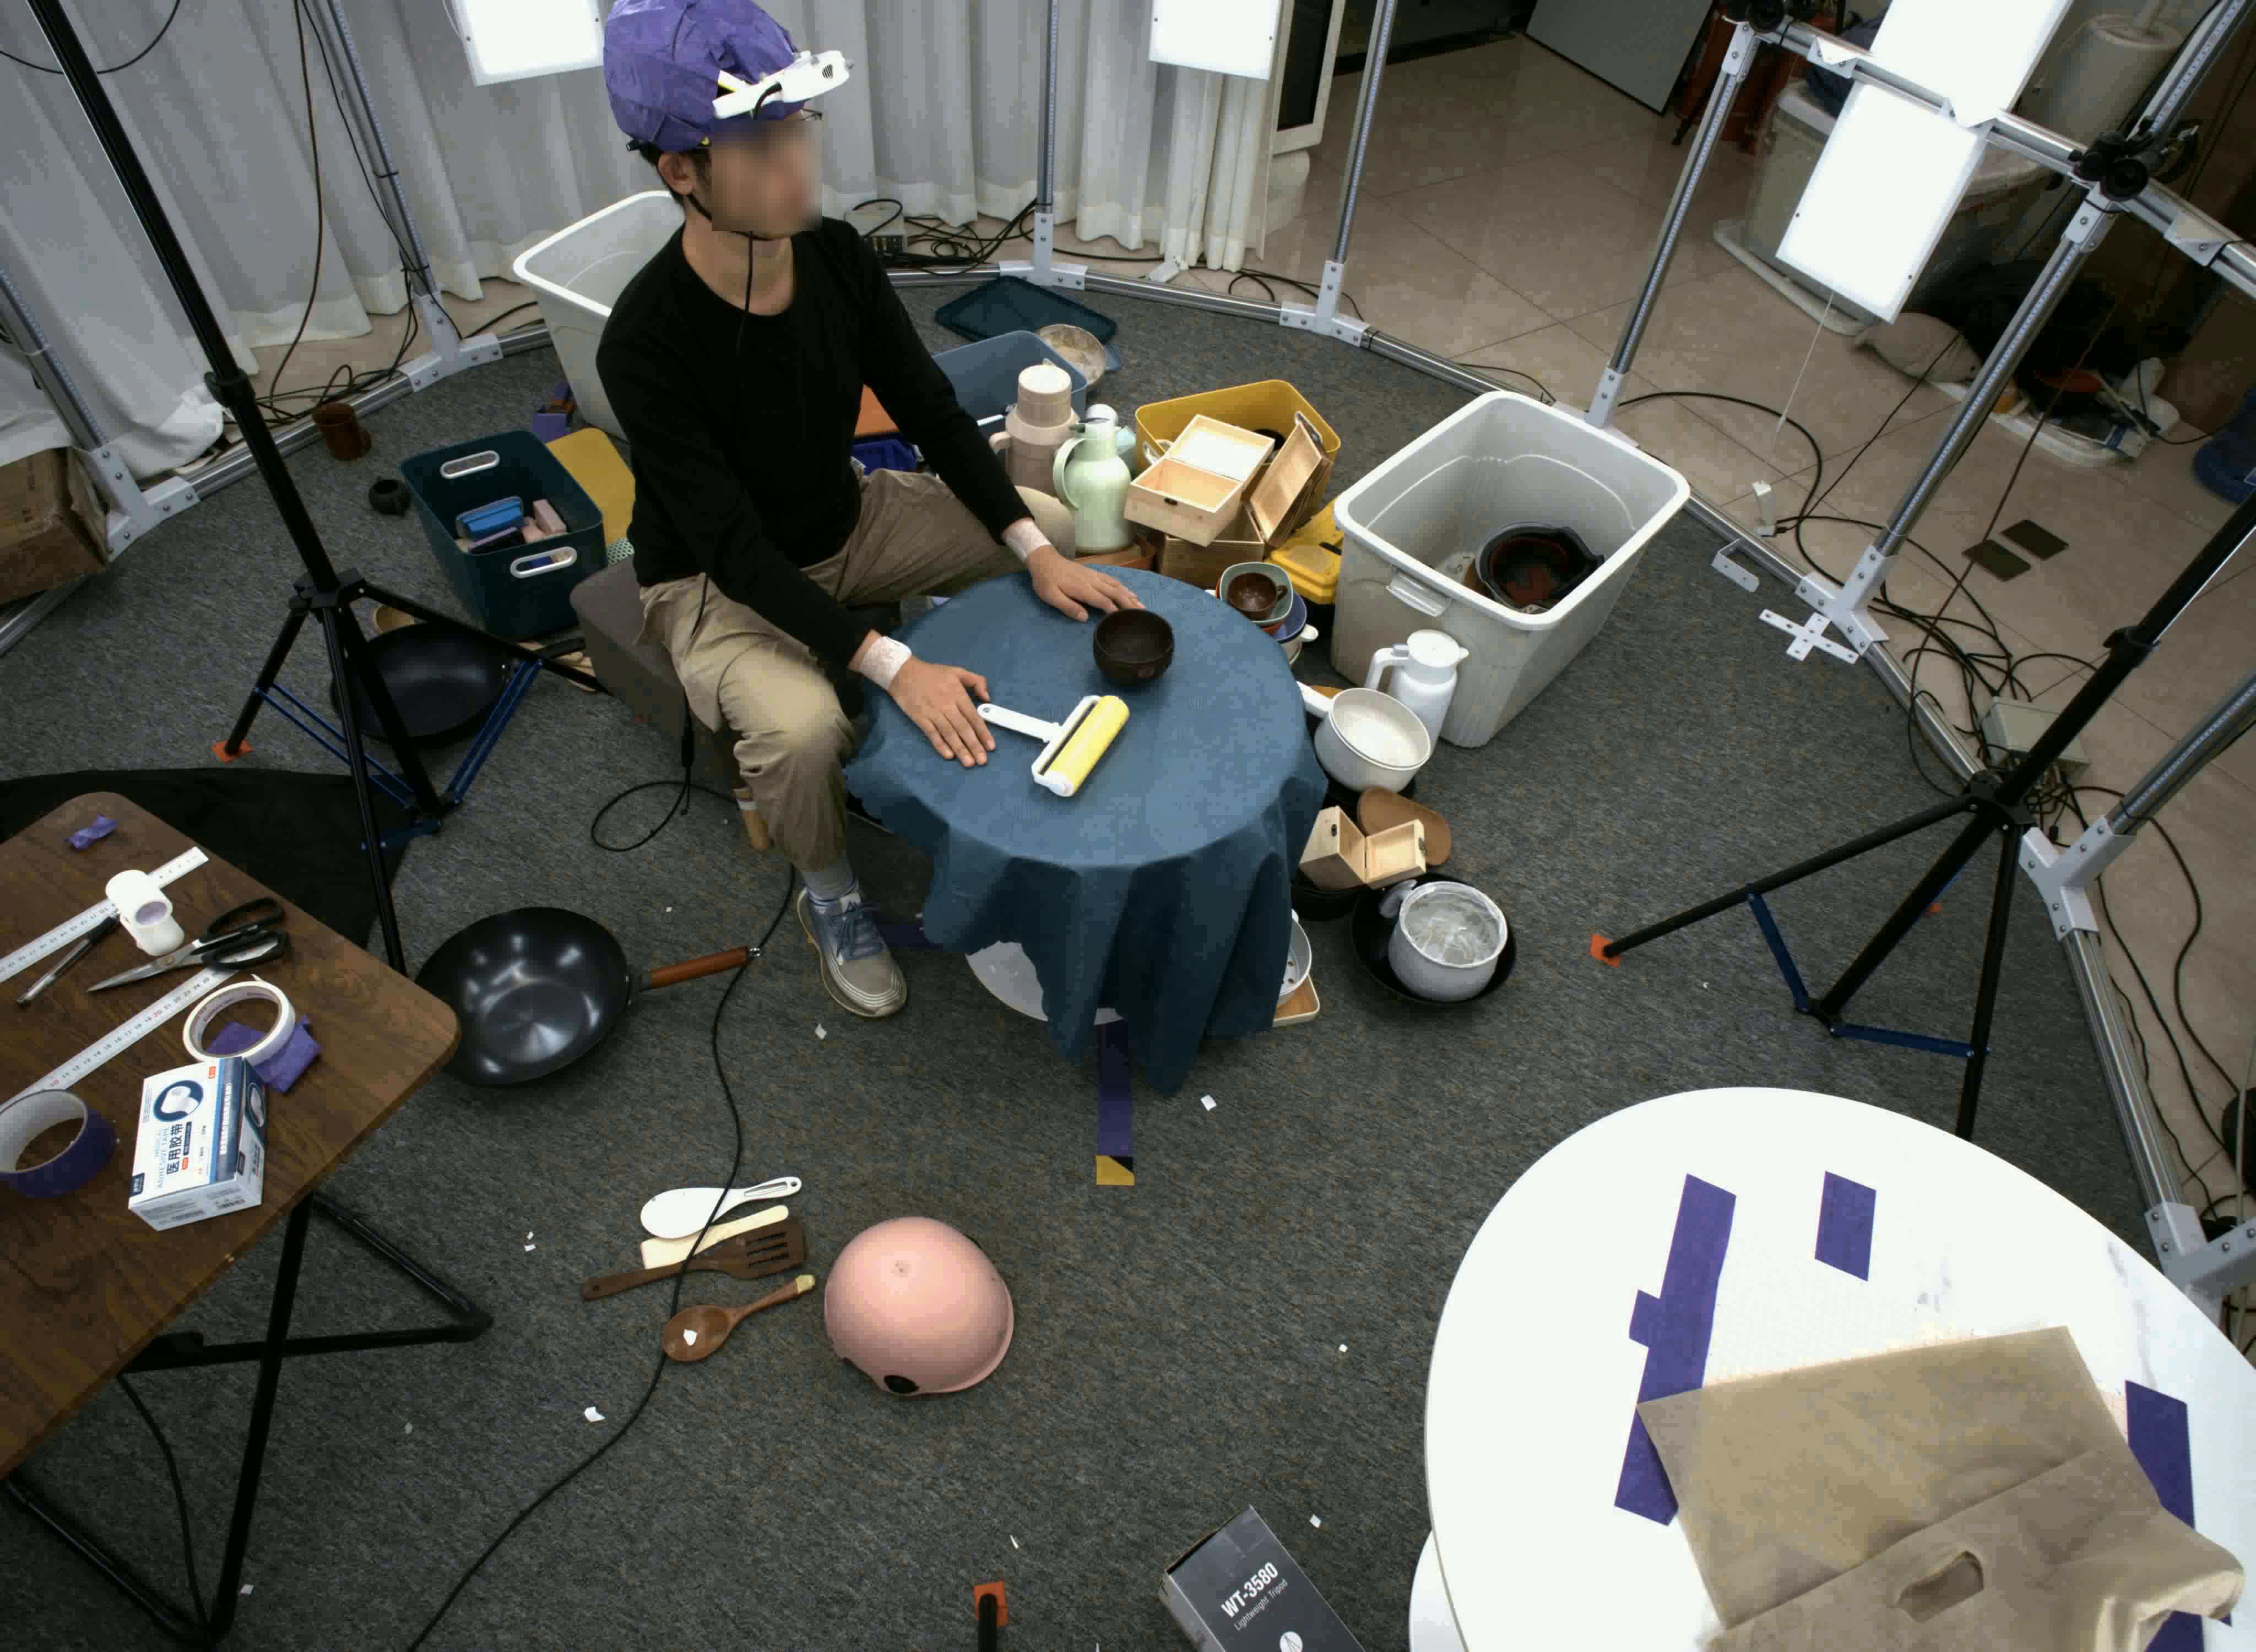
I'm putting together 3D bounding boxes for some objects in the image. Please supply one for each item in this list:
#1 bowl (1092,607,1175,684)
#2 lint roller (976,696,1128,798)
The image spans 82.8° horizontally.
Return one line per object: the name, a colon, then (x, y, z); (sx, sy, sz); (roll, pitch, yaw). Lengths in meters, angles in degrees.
bowl: (0.006, -0.251, 1.839); (0.118, 0.068, 0.121); (3, 49, -3)
lint roller: (-0.120, -0.136, 1.746); (0.193, 0.050, 0.177); (24, 52, 11)
